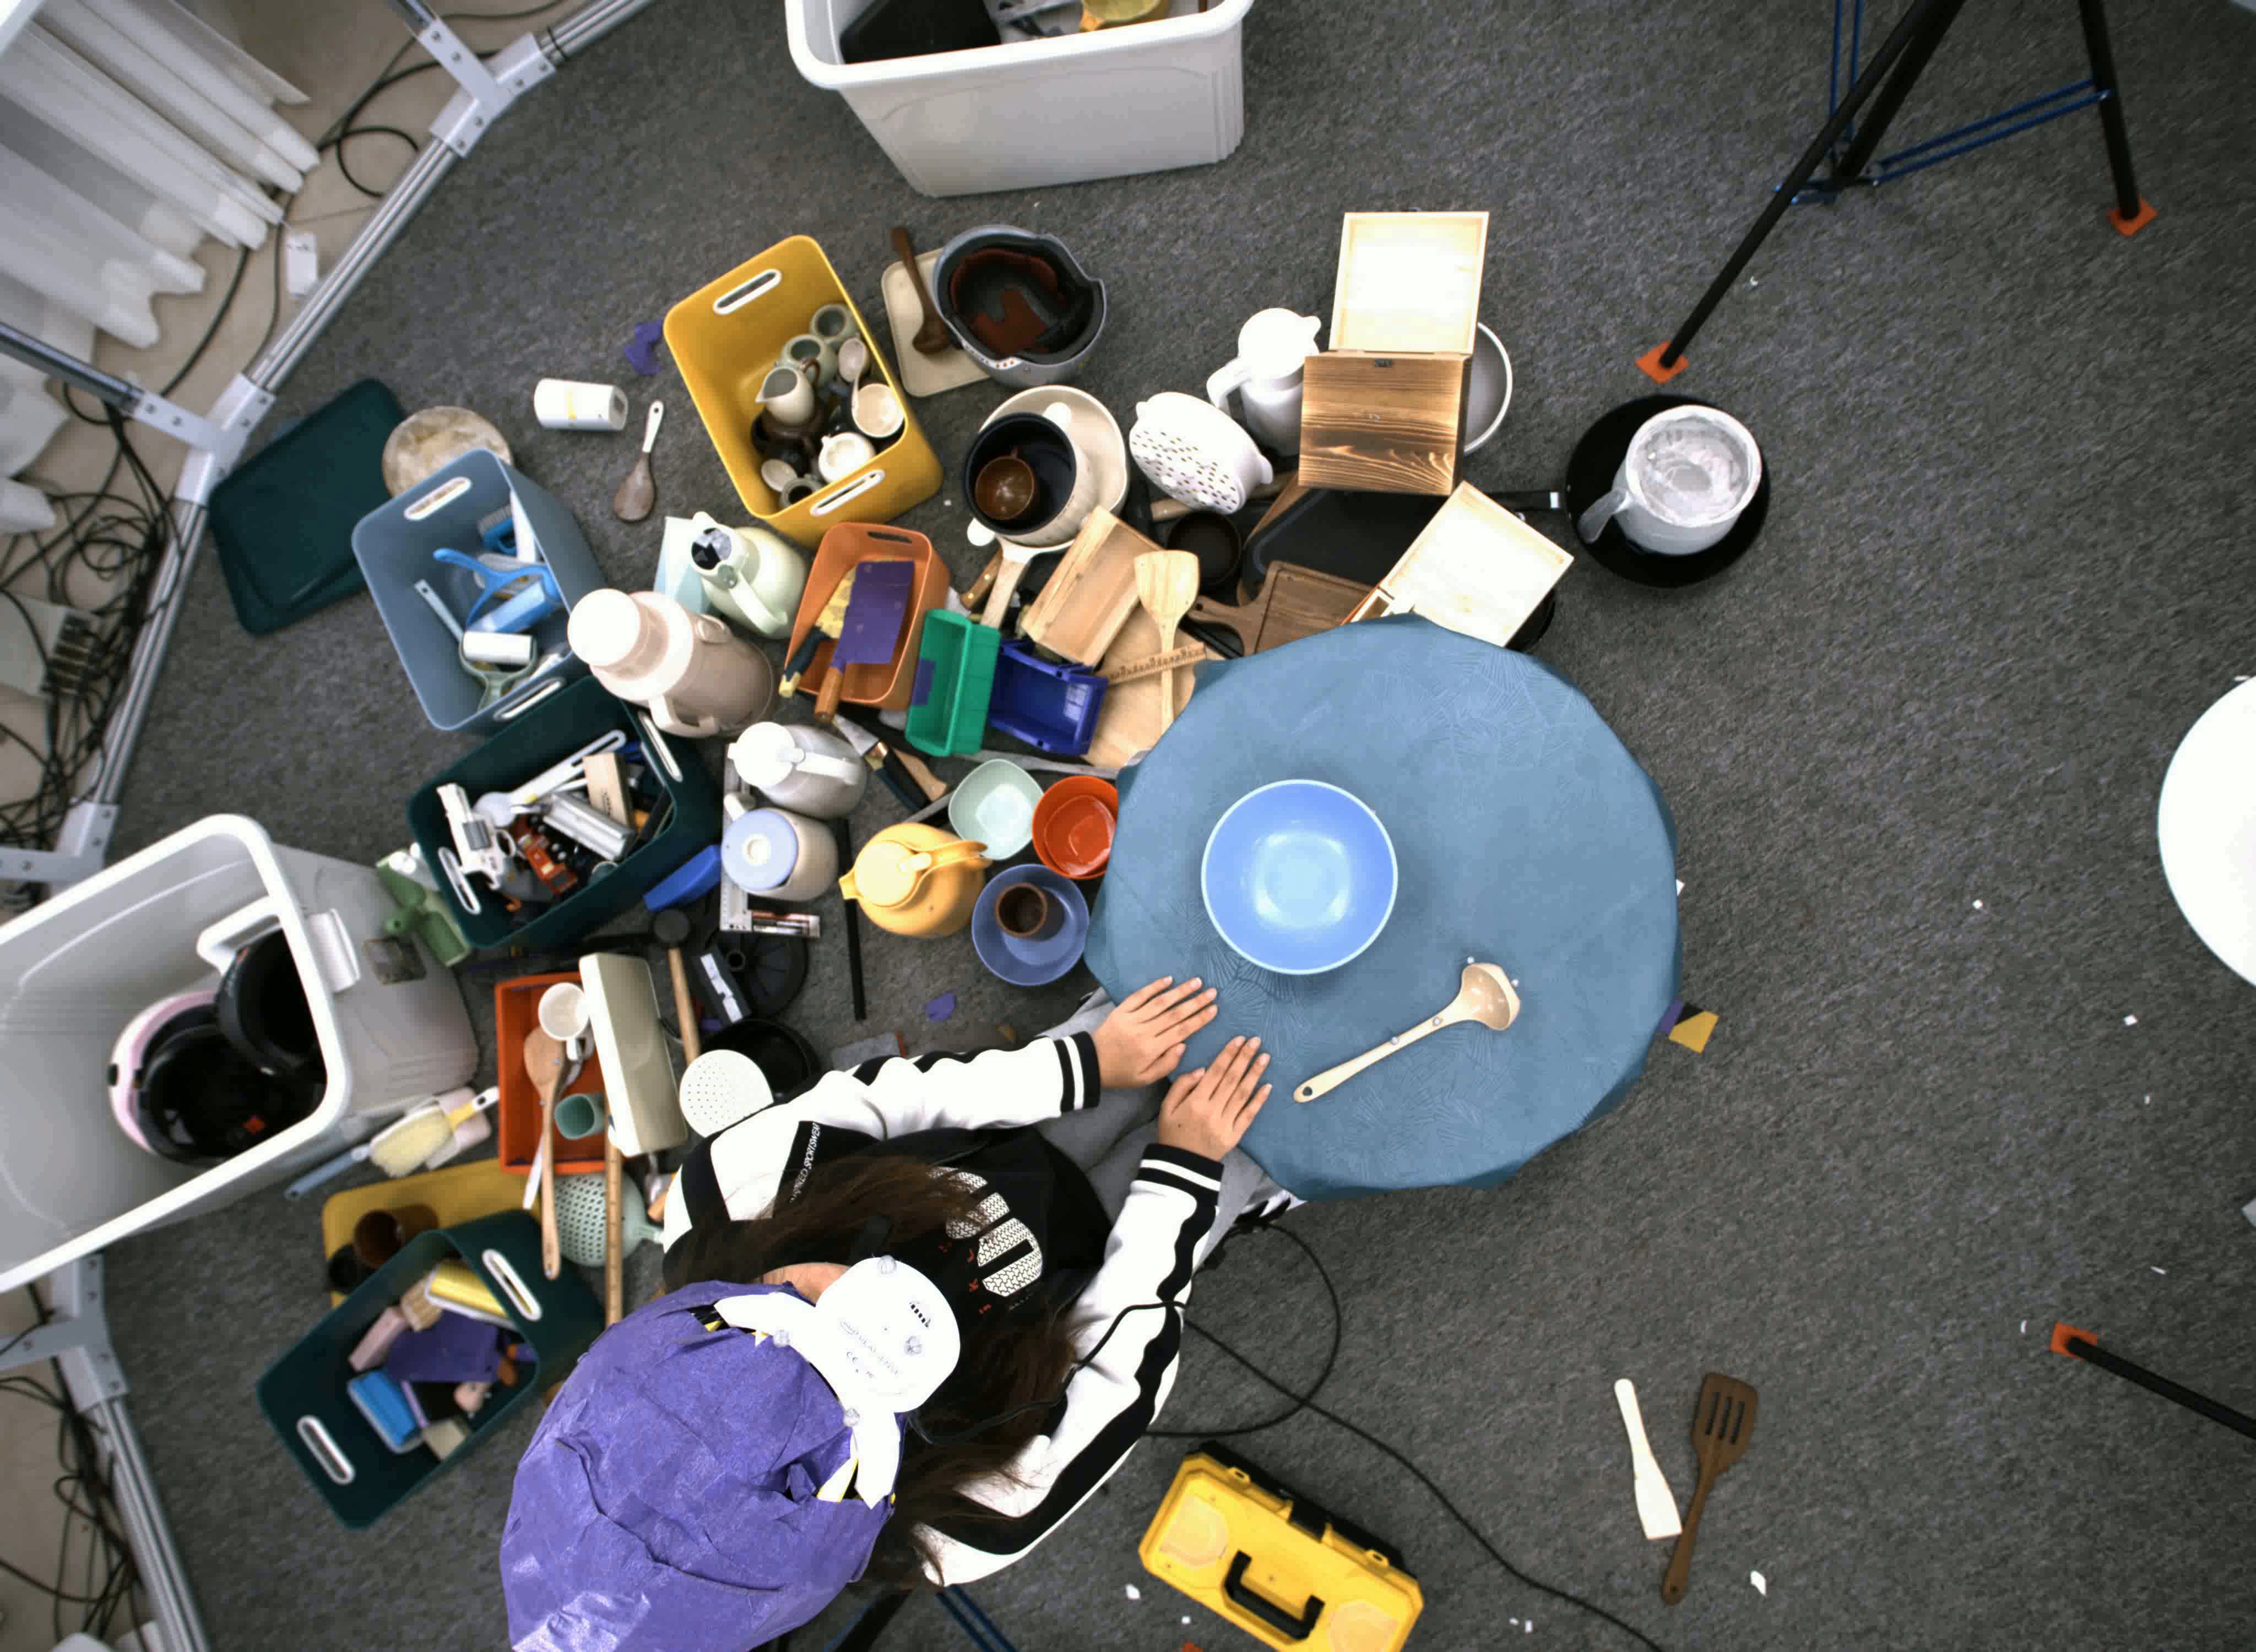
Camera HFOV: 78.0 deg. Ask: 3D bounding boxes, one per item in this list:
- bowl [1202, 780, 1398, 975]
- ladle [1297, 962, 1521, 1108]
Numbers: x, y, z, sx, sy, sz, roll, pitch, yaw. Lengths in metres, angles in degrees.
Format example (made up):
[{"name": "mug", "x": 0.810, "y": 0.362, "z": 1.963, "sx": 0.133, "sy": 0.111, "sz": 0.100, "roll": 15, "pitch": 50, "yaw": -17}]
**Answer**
[{"name": "bowl", "x": 0.178, "y": 0.054, "z": 1.434, "sx": 0.197, "sy": 0.095, "sz": 0.196, "roll": -1, "pitch": 88, "yaw": 10}, {"name": "ladle", "x": 0.281, "y": 0.222, "z": 1.413, "sx": 0.256, "sy": 0.073, "sz": 0.071, "roll": -31, "pitch": 80, "yaw": 7}]
